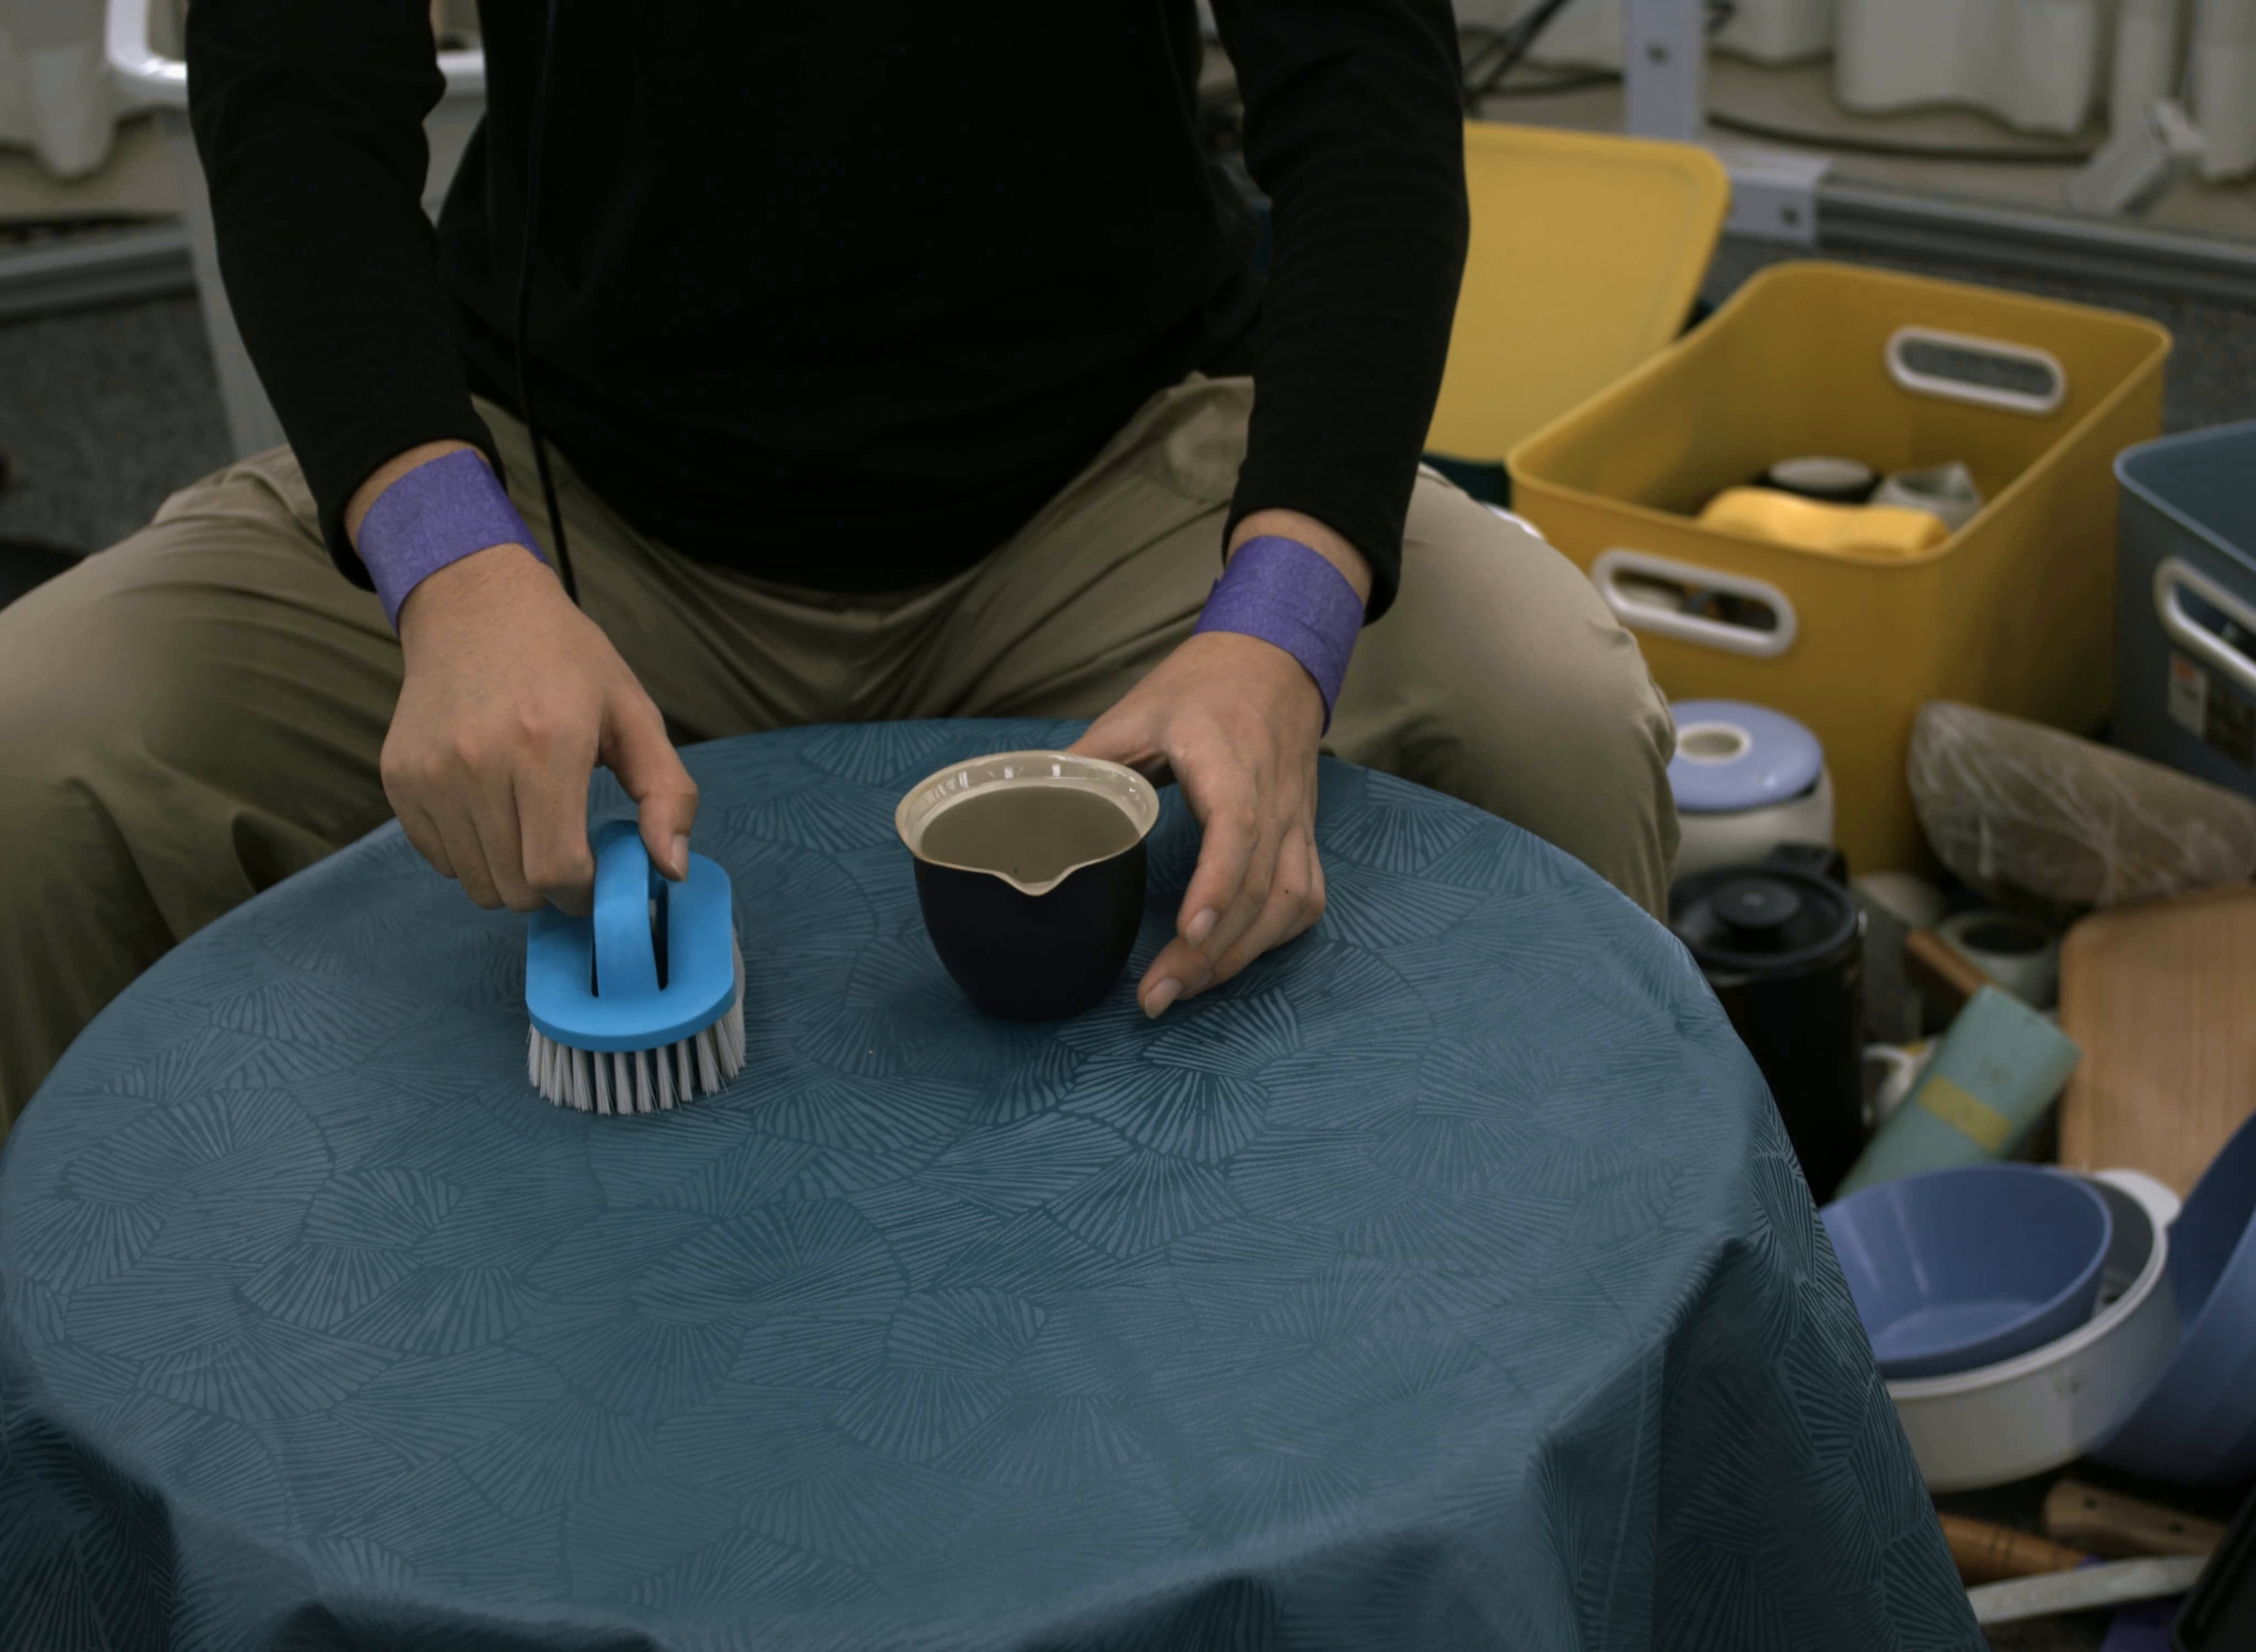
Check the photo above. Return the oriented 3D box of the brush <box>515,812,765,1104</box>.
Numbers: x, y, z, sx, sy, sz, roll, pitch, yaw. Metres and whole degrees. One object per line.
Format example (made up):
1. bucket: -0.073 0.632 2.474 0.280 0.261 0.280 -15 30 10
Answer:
1. brush: -0.172 0.038 1.969 0.084 0.063 0.144 -7 26 1

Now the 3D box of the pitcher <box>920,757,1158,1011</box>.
1. pitcher: -0.030 0.025 1.971 0.083 0.070 0.097 -1 29 2
